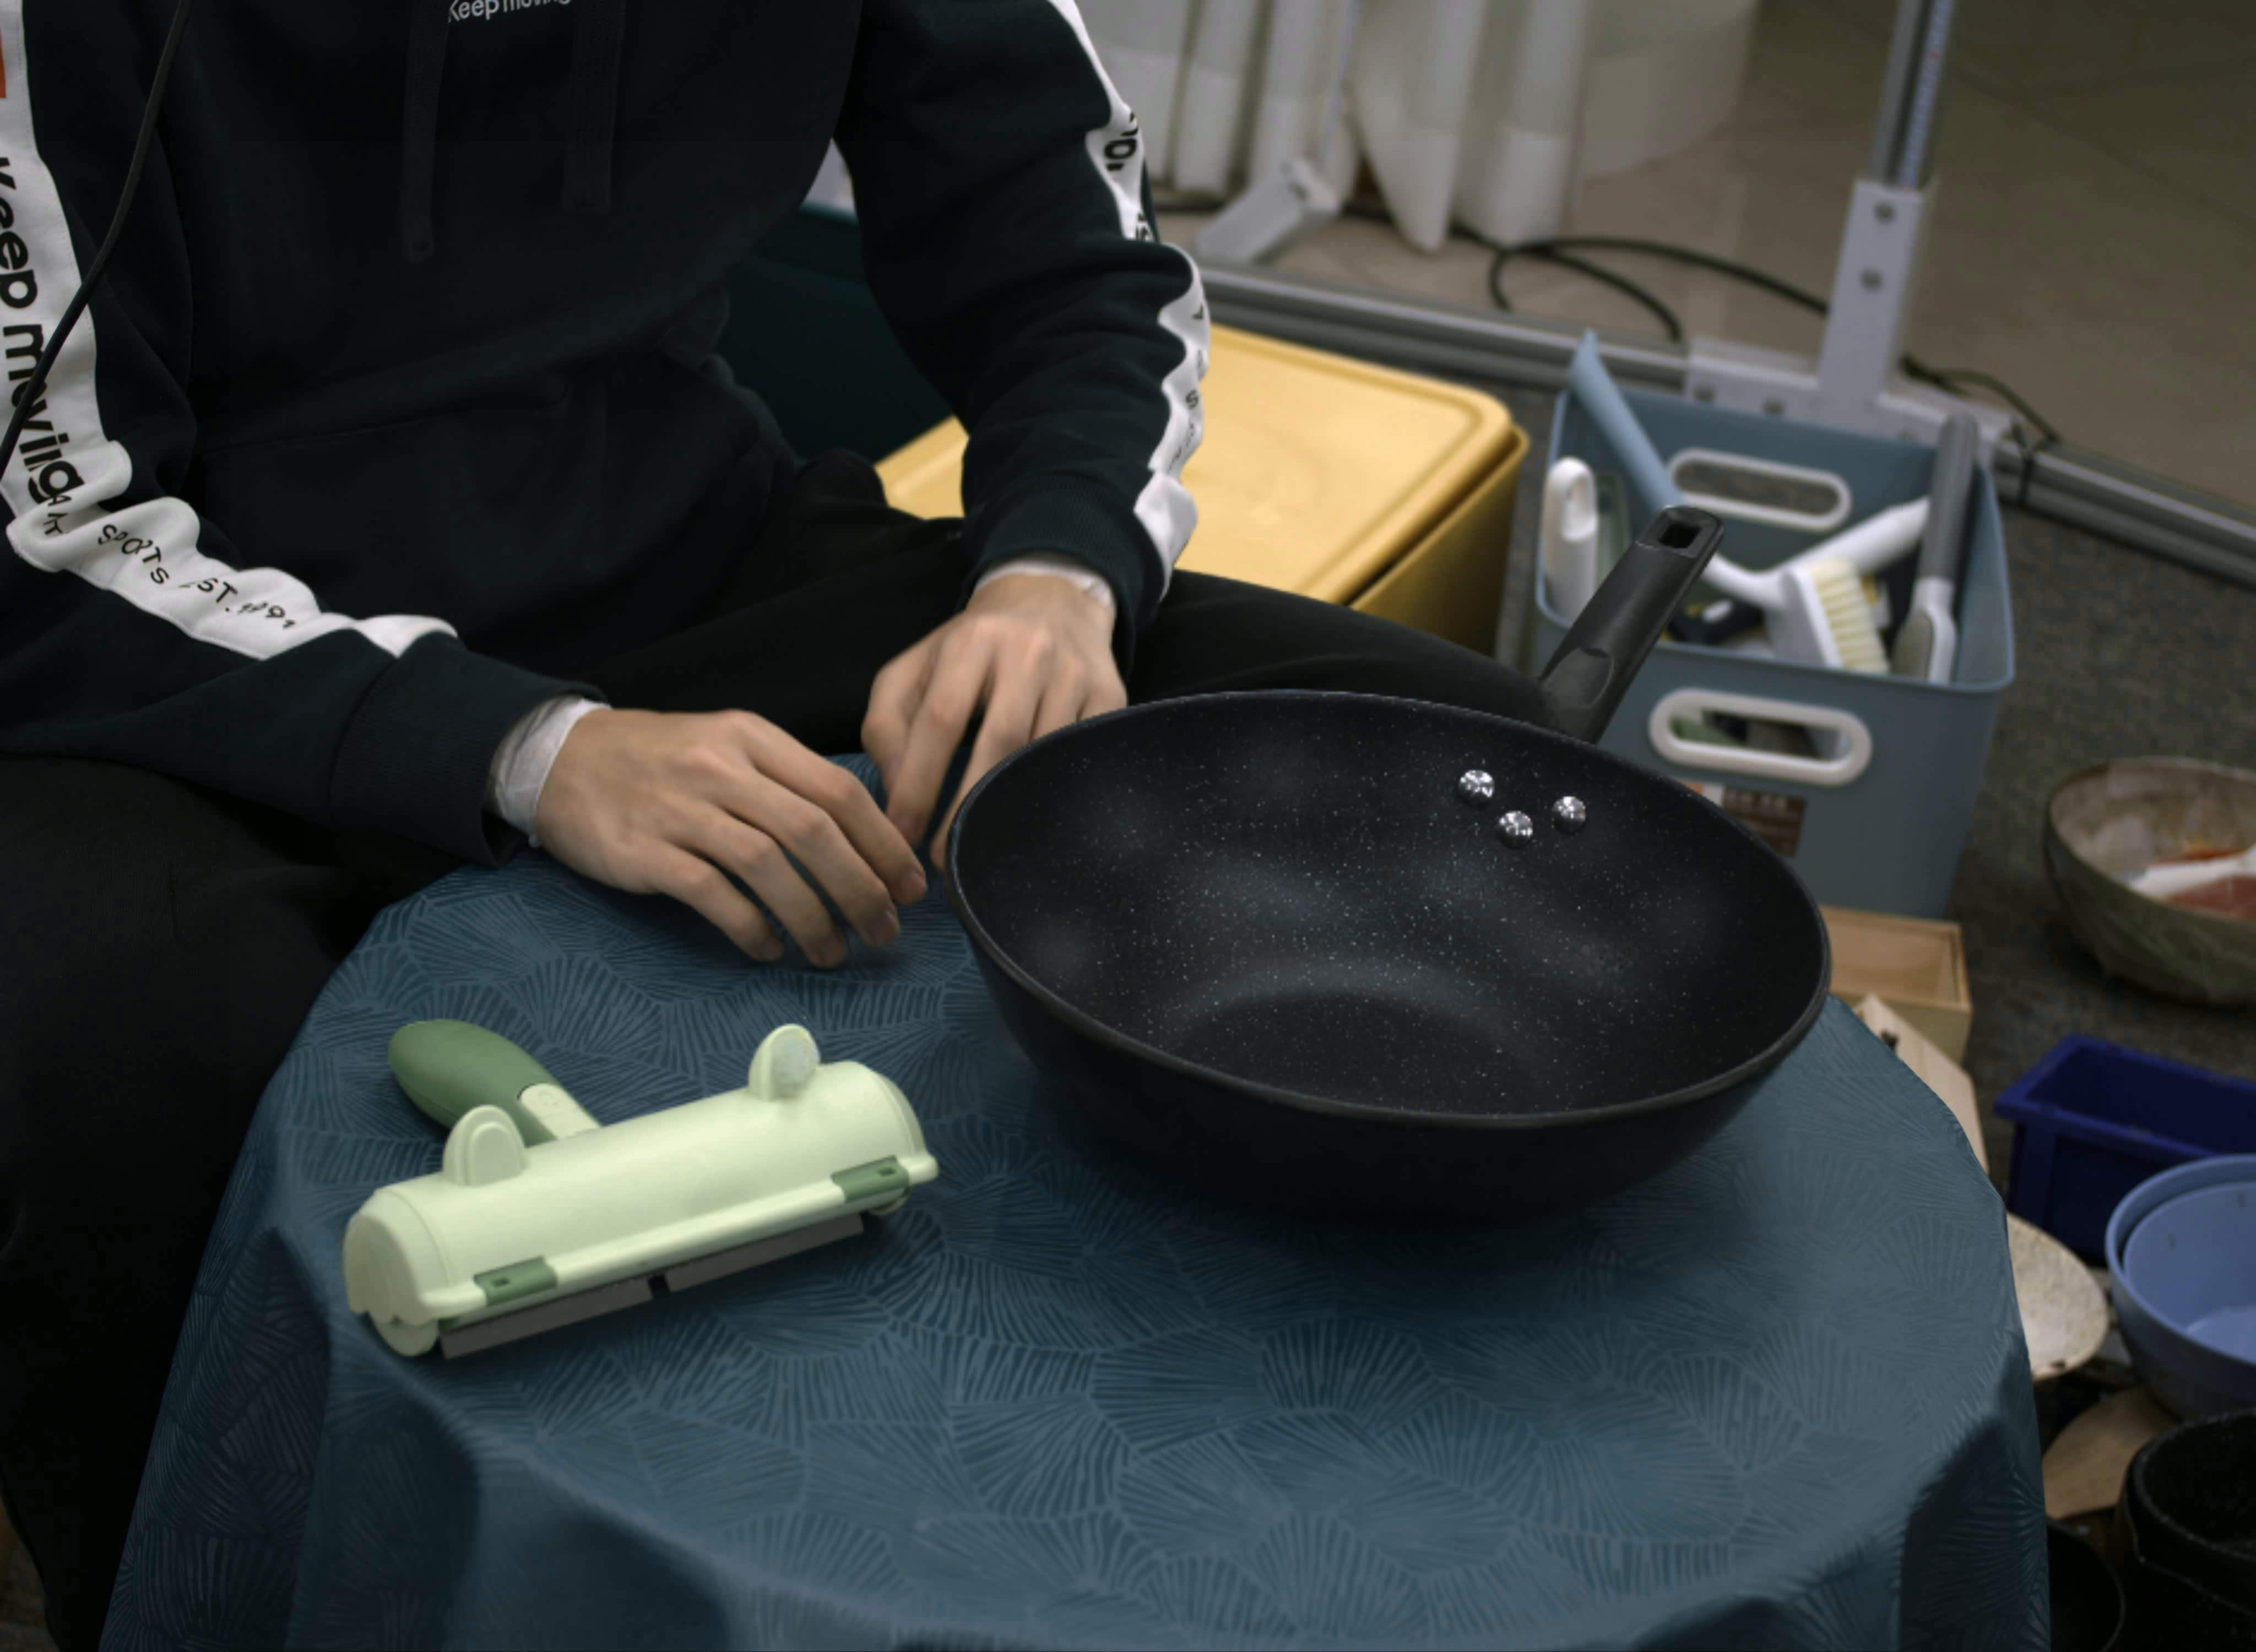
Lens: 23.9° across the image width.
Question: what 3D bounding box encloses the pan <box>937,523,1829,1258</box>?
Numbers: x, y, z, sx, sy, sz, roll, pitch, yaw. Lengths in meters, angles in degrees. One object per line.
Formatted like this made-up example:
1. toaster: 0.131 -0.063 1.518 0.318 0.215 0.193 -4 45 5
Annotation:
1. pan: 0.118 0.022 1.909 0.311 0.111 0.477 18 29 18

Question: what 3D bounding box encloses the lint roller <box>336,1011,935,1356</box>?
1. lint roller: -0.189 0.089 1.743 0.197 0.082 0.185 -14 38 -34
